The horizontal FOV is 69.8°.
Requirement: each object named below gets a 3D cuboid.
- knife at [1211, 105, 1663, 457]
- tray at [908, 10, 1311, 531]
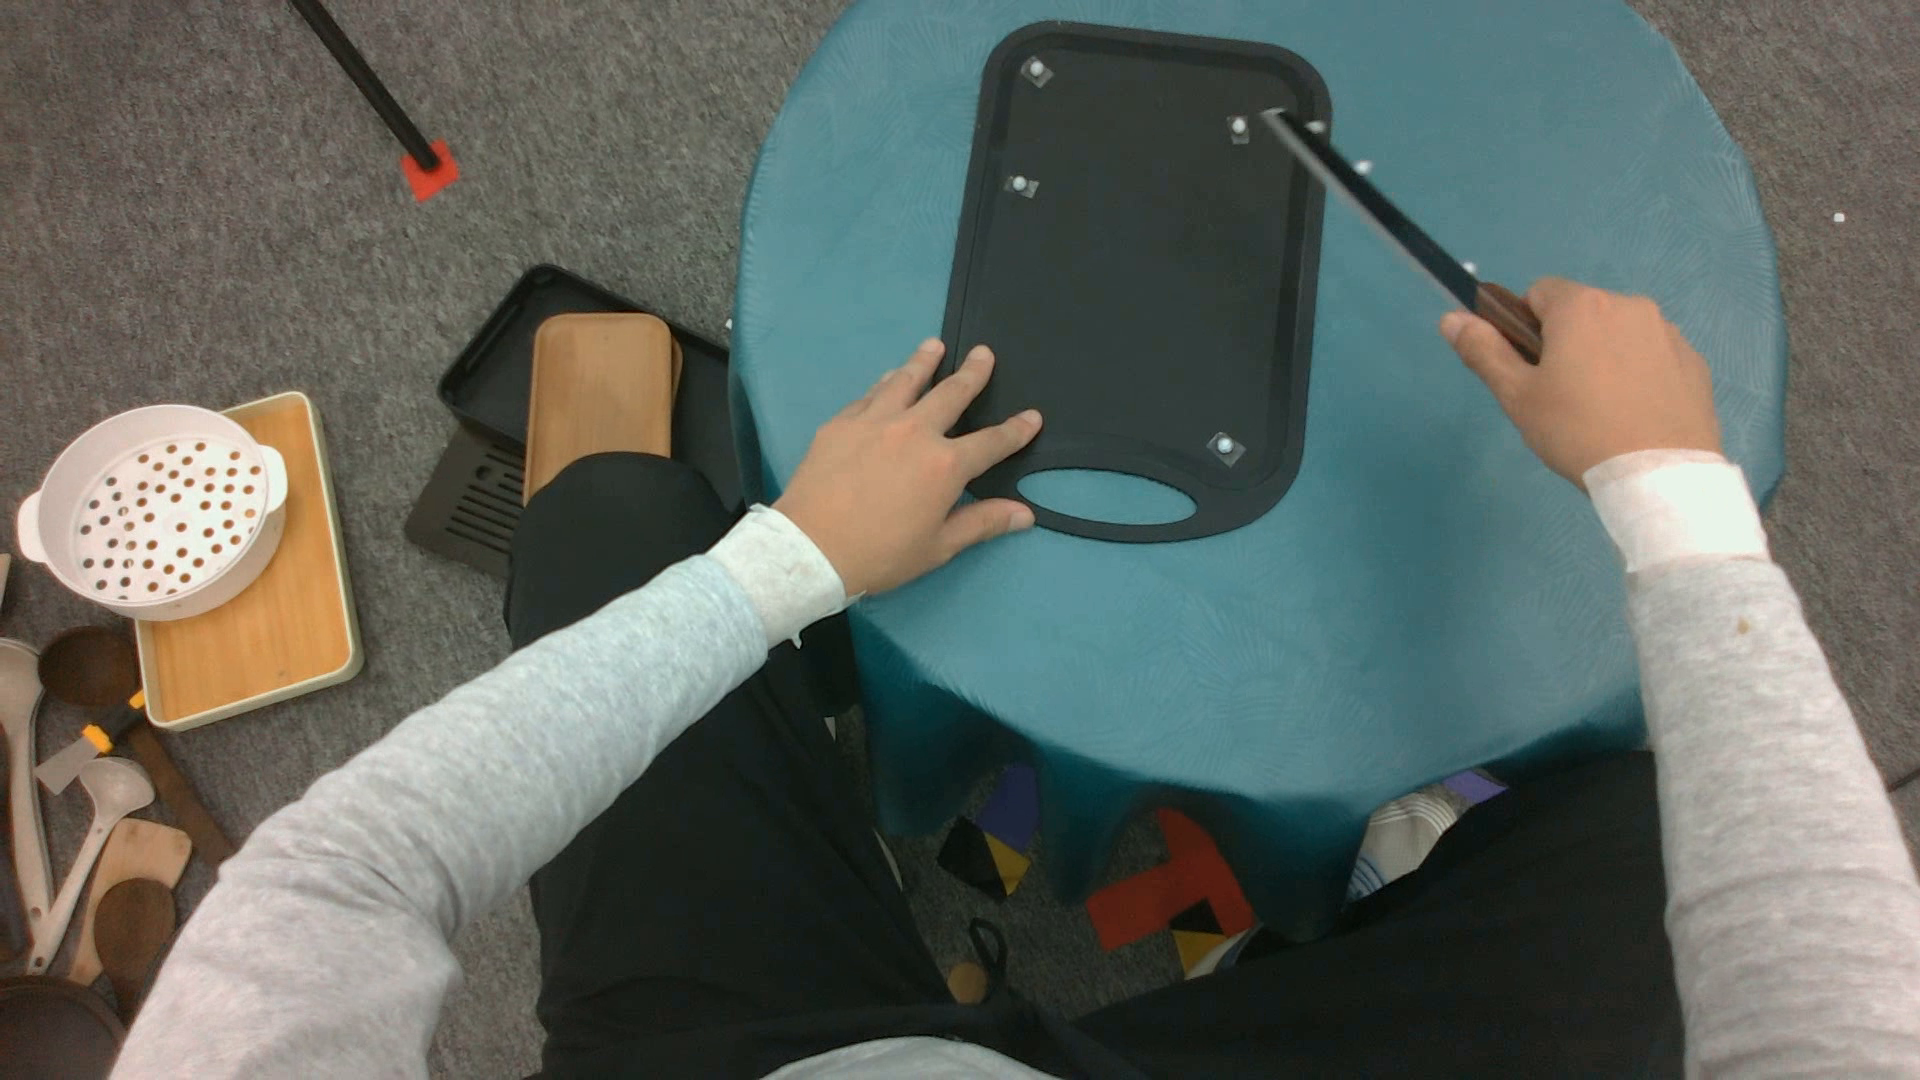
[{"bbox_3d":[0.228,-0.139,0.693,0.020,0.050,0.289,-43,67,-2],"label":"knife"},{"bbox_3d":[0.090,-0.162,0.793,0.211,0.010,0.326,8,74,3],"label":"tray"}]
